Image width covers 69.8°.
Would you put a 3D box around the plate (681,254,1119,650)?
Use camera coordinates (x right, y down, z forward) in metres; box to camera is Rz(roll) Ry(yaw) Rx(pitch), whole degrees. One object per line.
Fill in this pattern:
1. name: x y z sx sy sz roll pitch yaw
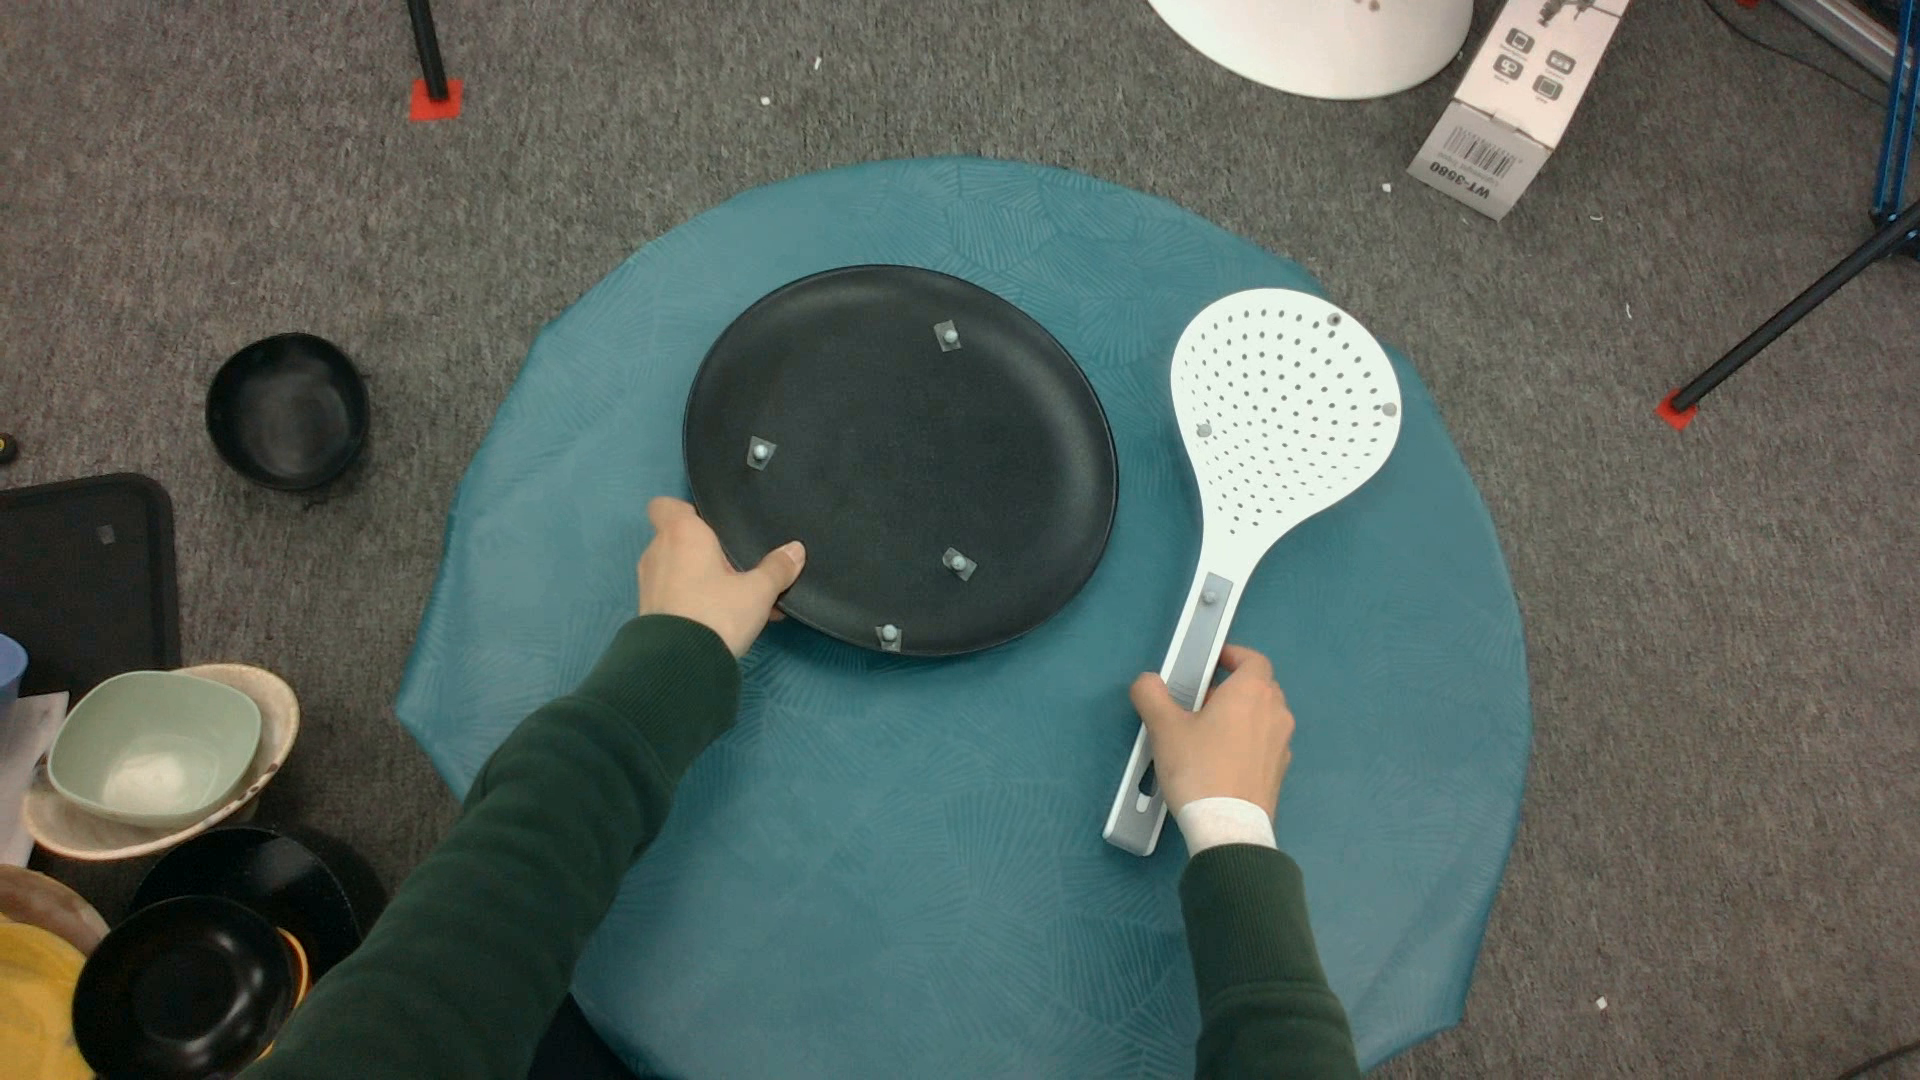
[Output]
1. plate: -0.030 -0.051 0.757 0.244 0.023 0.245 7 64 -13

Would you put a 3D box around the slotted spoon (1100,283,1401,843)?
1. slotted spoon: 0.148 0.002 0.758 0.136 0.045 0.351 23 61 3
